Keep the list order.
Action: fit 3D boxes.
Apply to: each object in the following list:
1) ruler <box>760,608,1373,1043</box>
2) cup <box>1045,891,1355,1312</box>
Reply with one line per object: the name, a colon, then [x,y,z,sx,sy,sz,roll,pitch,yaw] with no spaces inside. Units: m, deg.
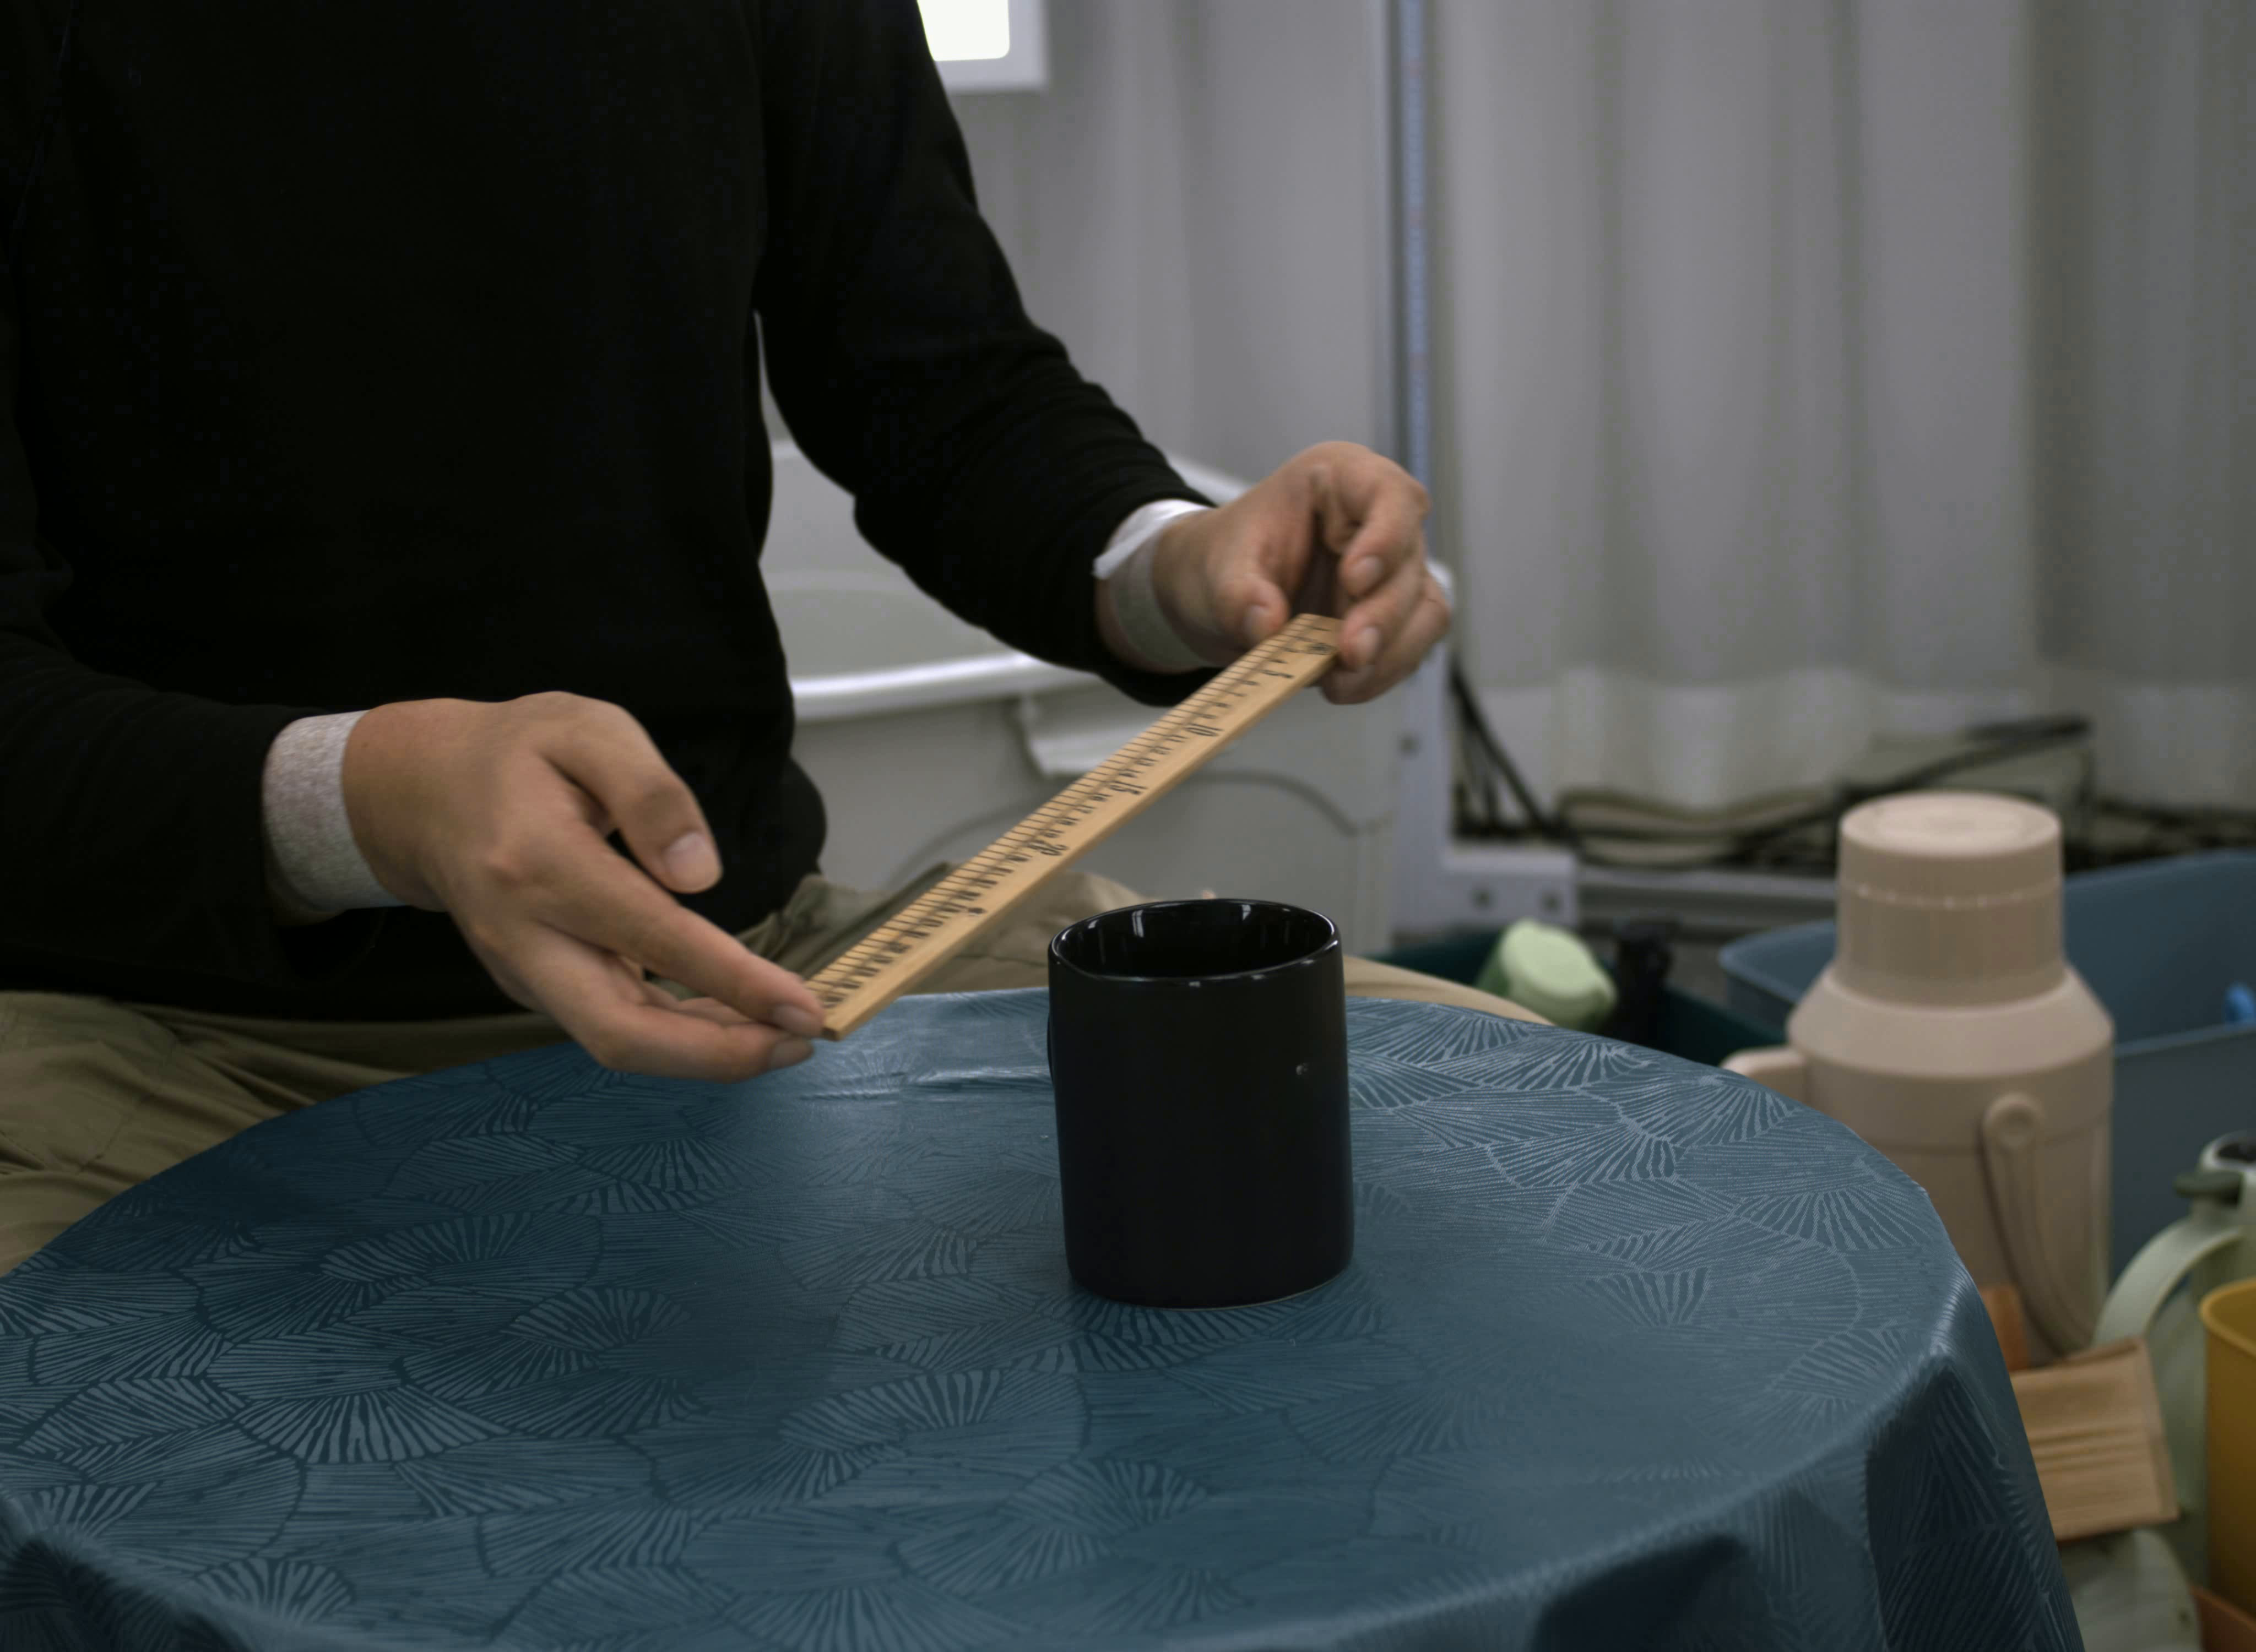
ruler: [-0.012,-0.008,1.677,0.027,0.022,0.333,18,30,25]
cup: [0.013,0.078,1.649,0.088,0.105,0.124,-12,18,-27]
